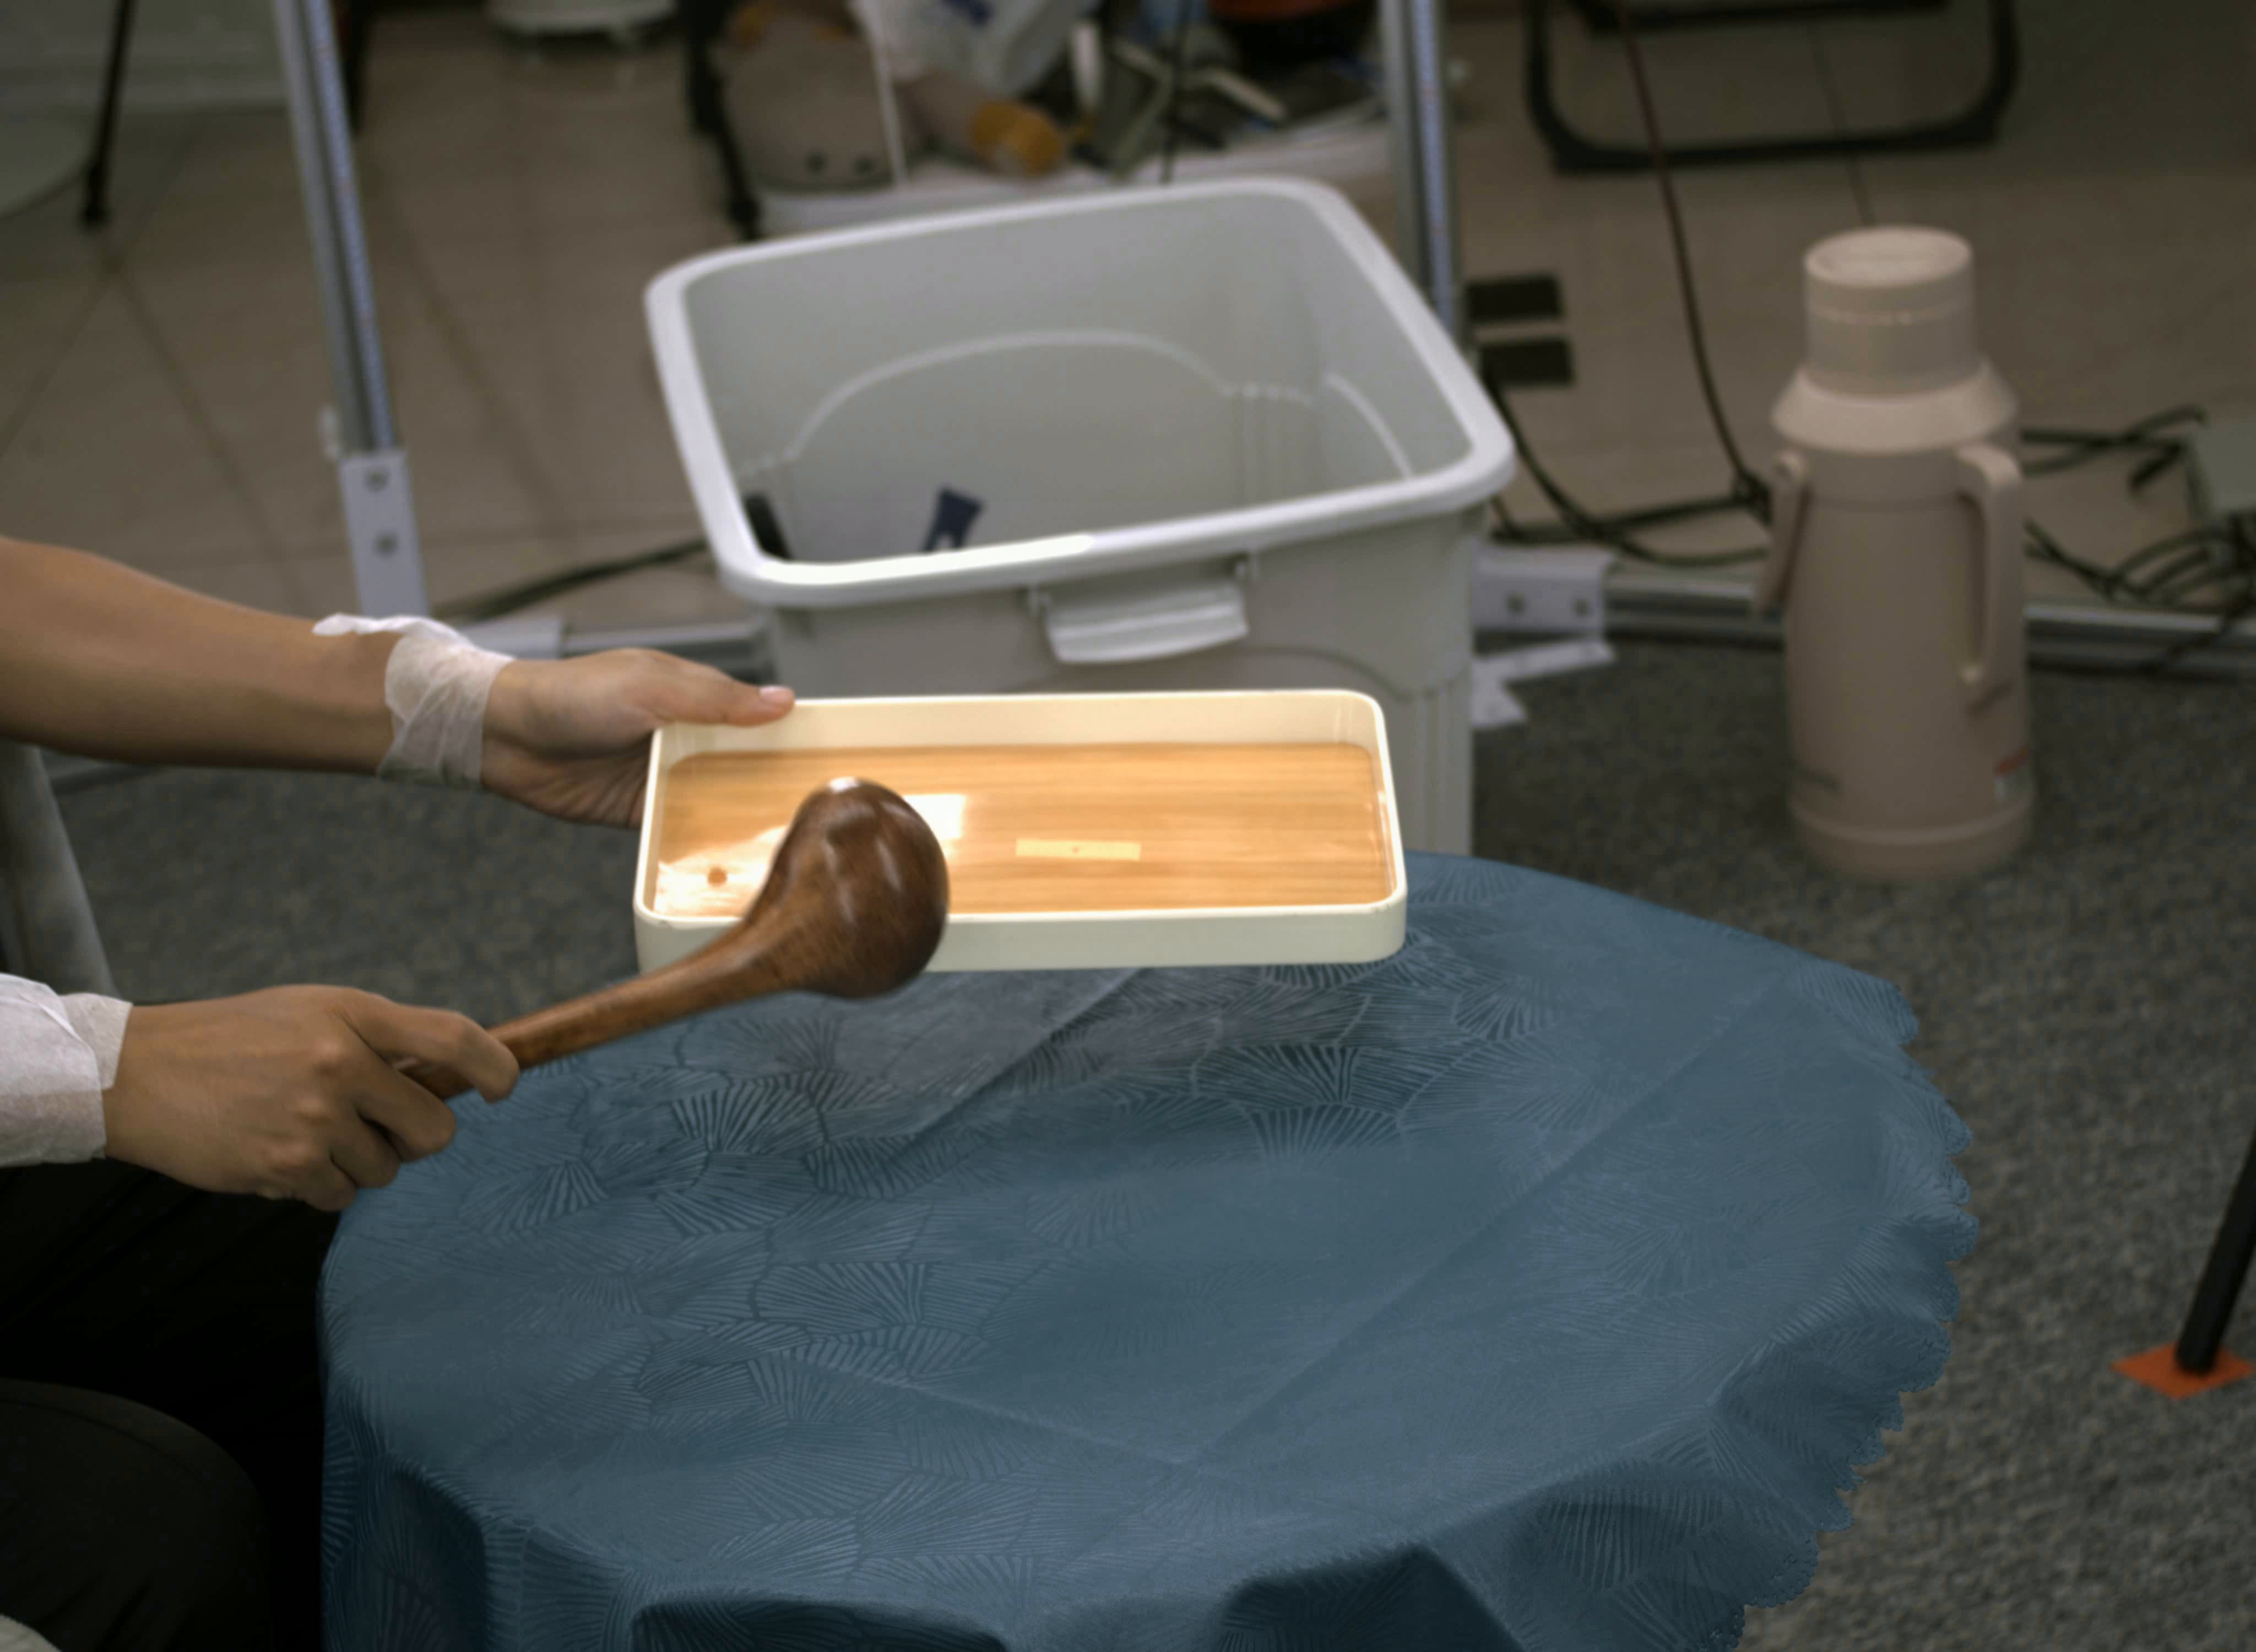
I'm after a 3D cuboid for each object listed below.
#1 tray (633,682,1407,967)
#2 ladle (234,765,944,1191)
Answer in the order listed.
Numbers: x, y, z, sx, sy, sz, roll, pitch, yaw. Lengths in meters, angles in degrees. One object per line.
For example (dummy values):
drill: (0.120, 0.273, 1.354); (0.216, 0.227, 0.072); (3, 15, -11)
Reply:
tray: (-0.043, -0.001, 2.257); (0.300, 0.028, 0.188); (-1, 29, -1)
ladle: (-0.196, 0.058, 2.060); (0.274, 0.083, 0.076); (-22, 16, 3)
